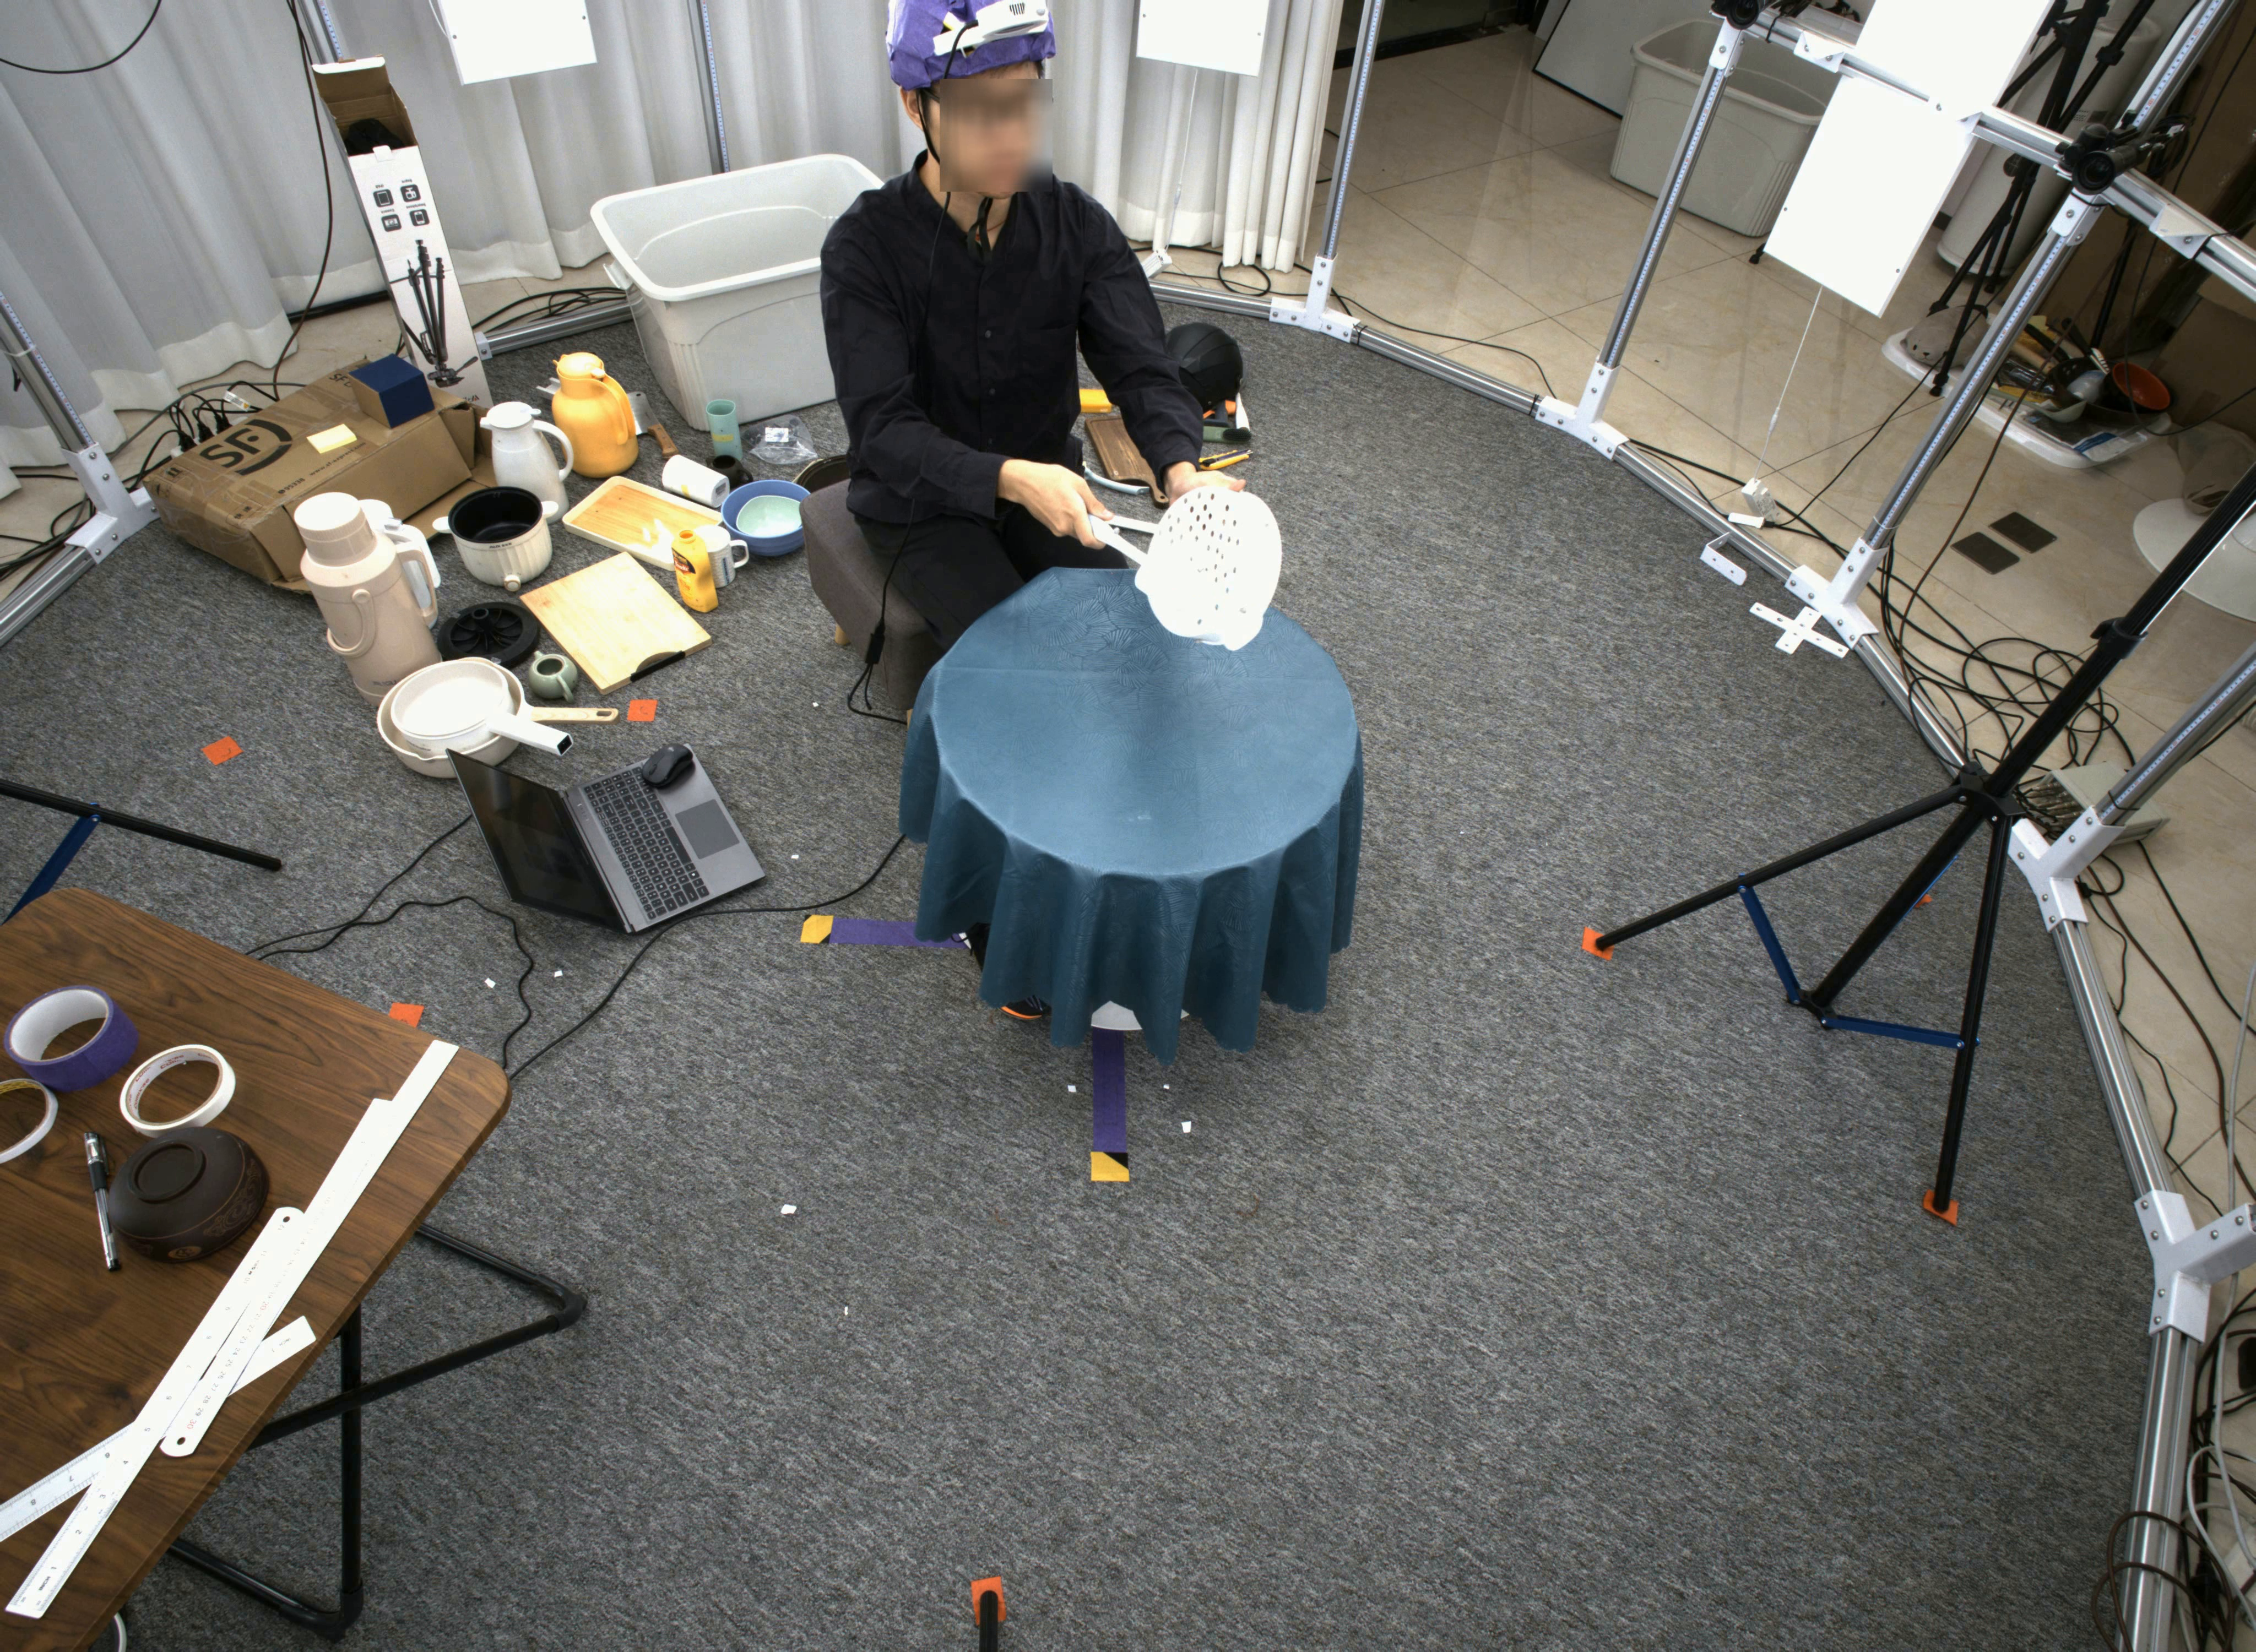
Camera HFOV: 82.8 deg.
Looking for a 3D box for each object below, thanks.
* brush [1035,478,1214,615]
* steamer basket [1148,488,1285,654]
[{"bbox_3d":[0.002,-0.371,1.682,0.083,0.082,0.331,-37,55,-17],"label":"brush"},{"bbox_3d":[0.108,-0.334,1.657,0.069,0.199,0.235,6,60,-40],"label":"steamer basket"}]
